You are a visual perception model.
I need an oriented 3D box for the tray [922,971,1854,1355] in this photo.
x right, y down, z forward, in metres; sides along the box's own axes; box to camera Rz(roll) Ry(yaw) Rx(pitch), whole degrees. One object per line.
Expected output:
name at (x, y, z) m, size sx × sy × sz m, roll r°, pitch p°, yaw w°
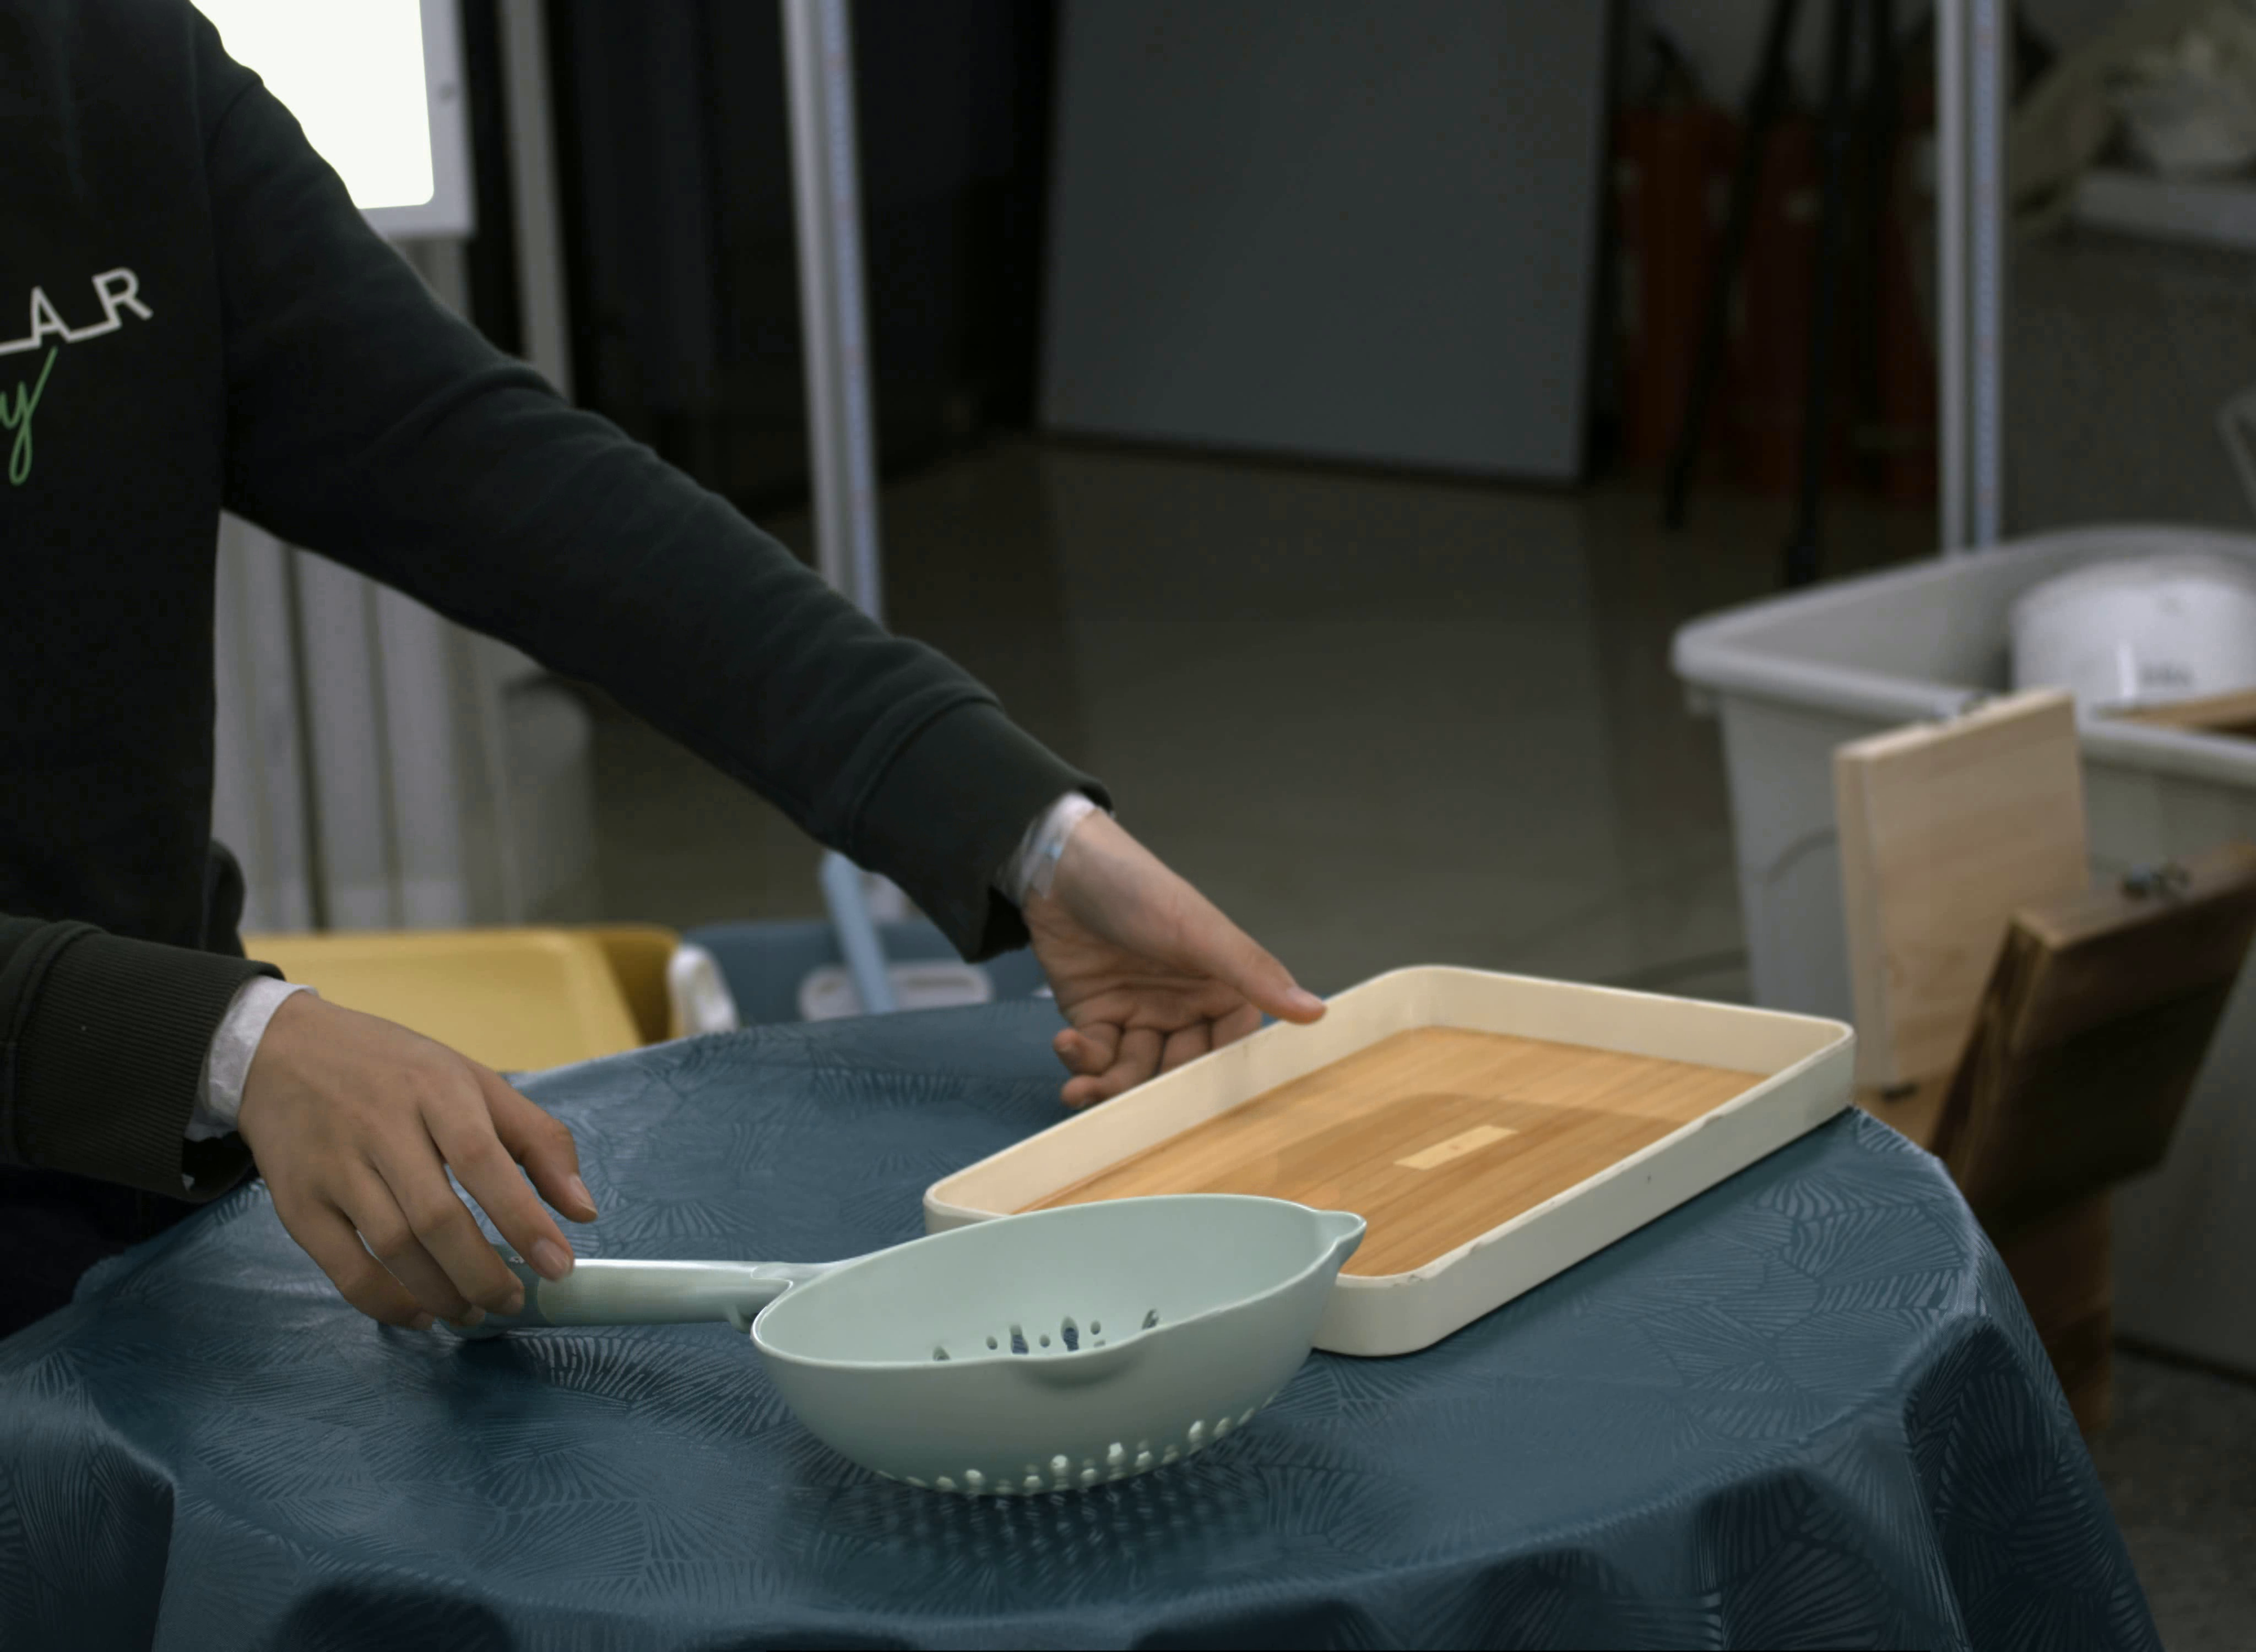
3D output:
tray at (0.090, 0.105, 1.755) m, size 0.193 × 0.028 × 0.295 m, roll 6°, pitch 17°, yaw 37°

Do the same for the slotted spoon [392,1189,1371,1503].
slotted spoon at (-0.093, 0.142, 1.580) m, size 0.361 × 0.076 × 0.166 m, roll 8°, pitch 17°, yaw 40°
